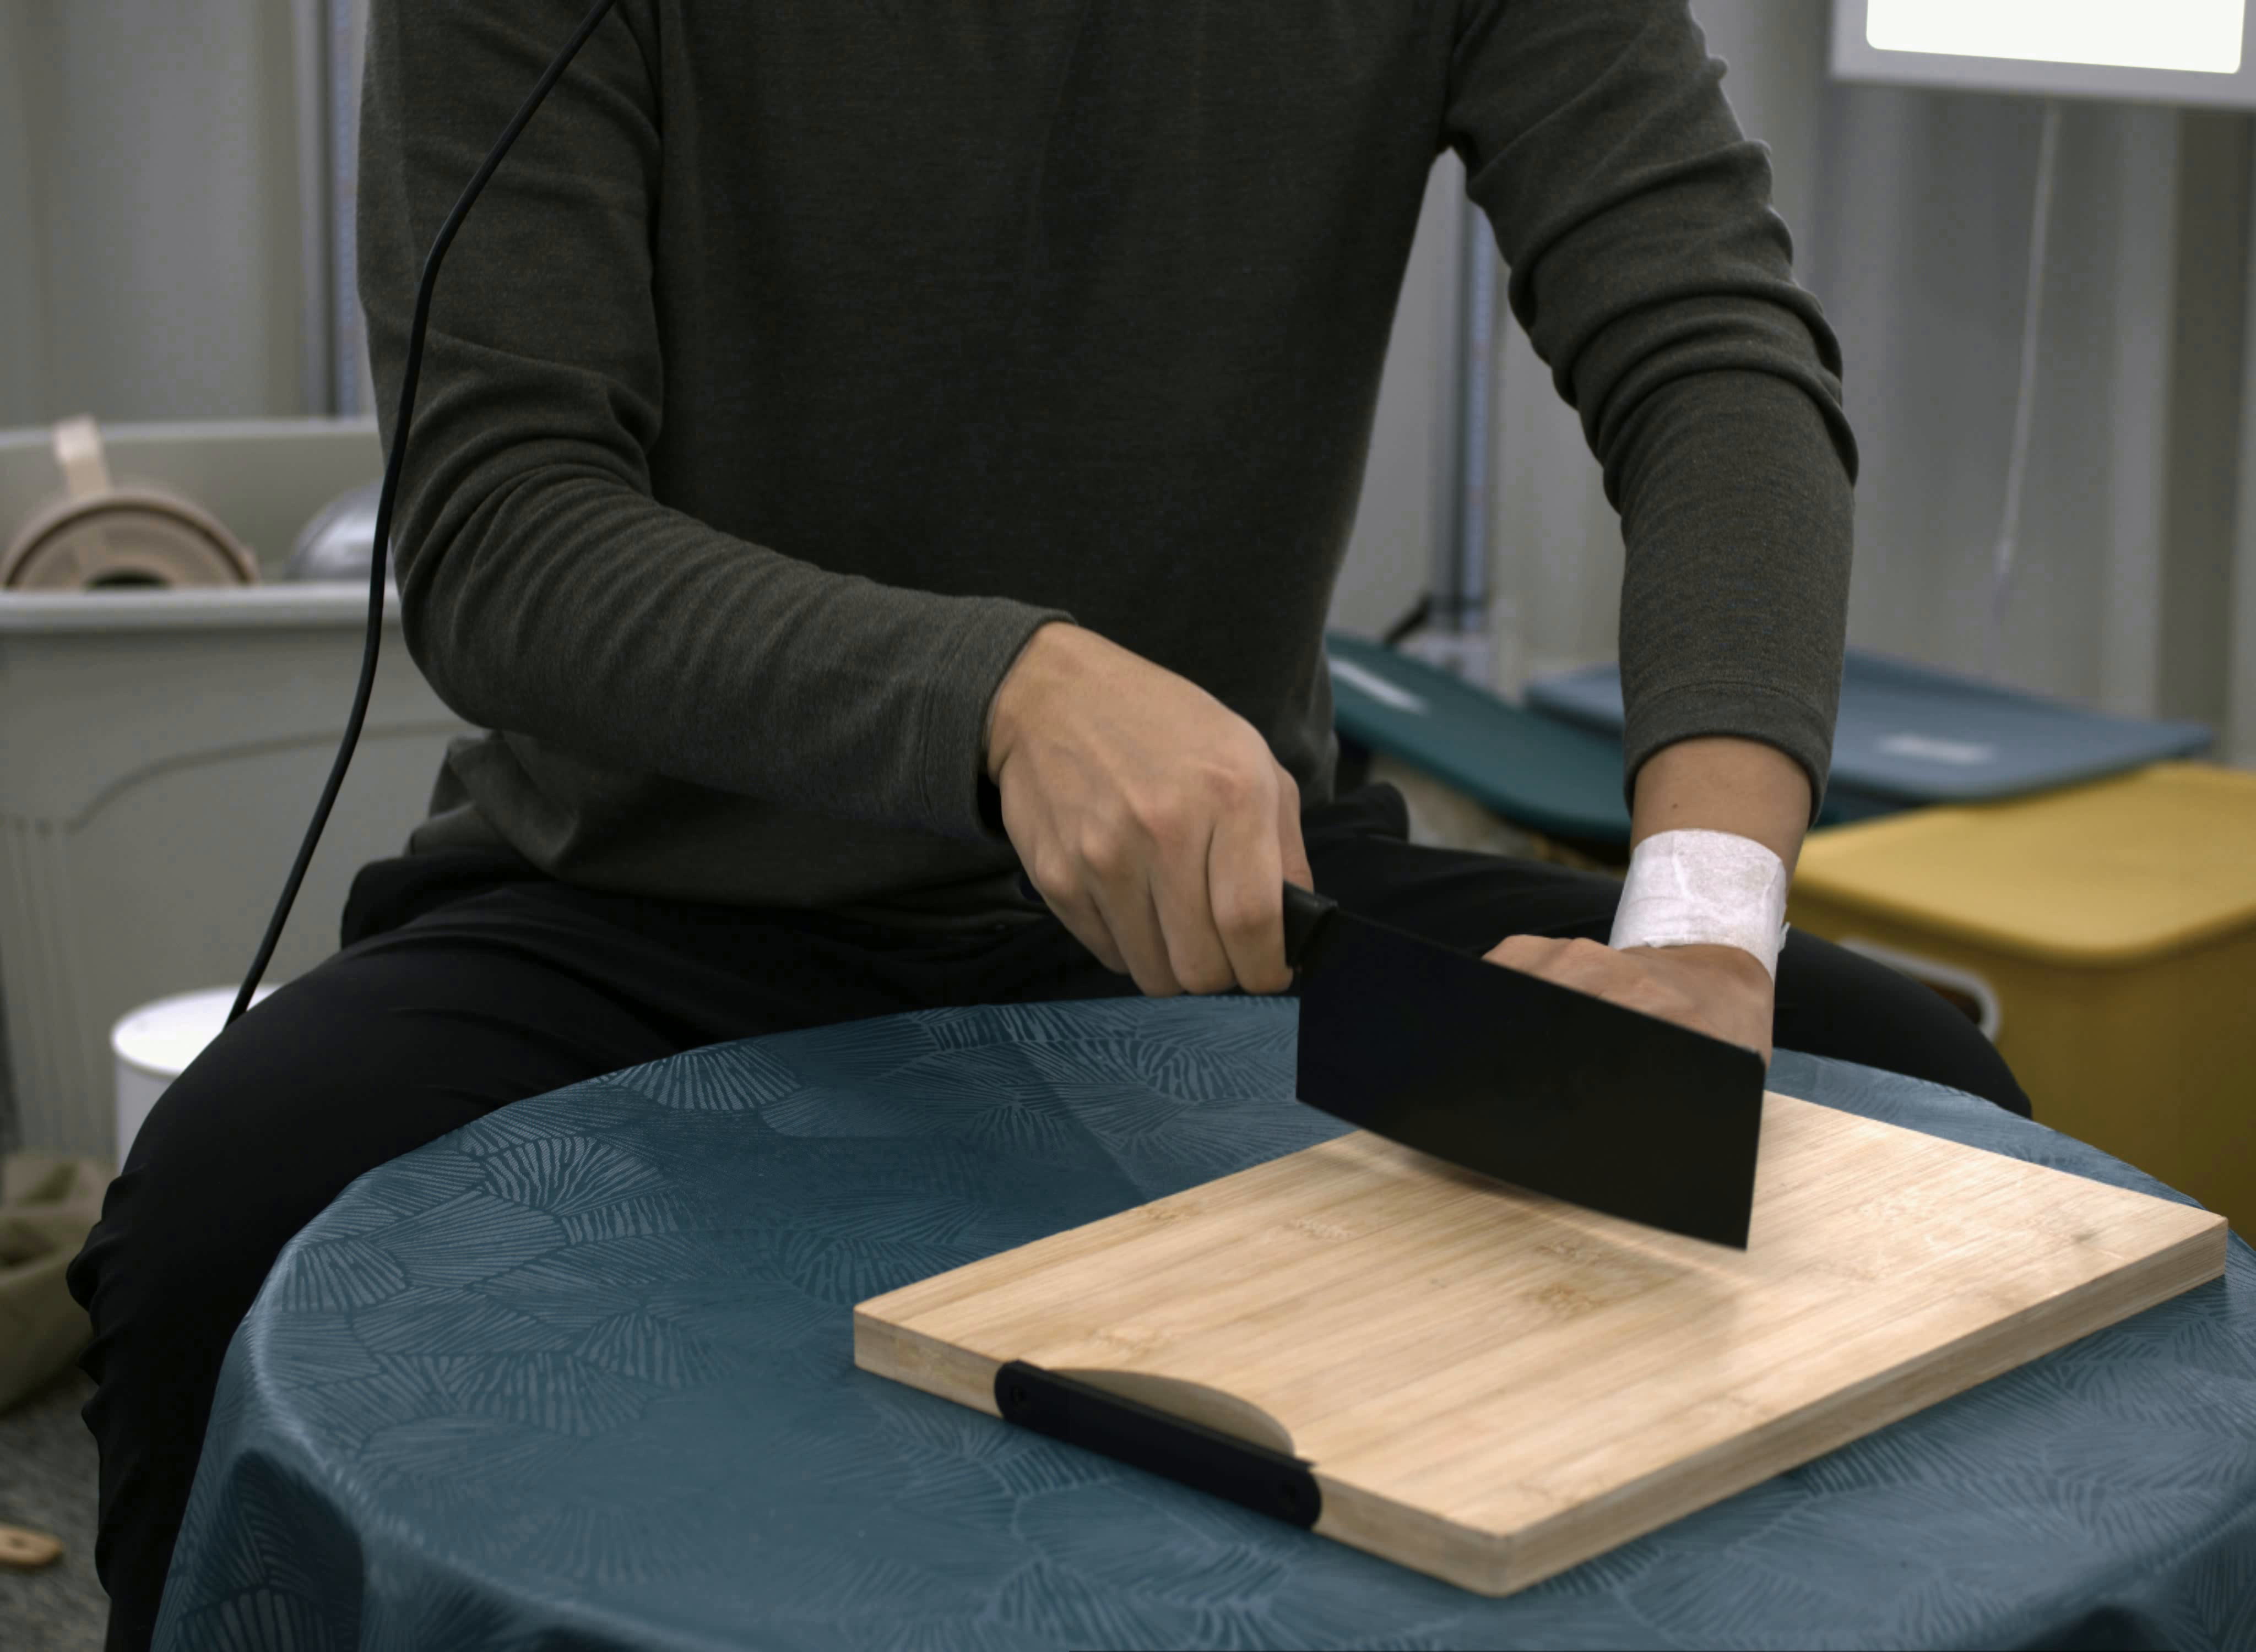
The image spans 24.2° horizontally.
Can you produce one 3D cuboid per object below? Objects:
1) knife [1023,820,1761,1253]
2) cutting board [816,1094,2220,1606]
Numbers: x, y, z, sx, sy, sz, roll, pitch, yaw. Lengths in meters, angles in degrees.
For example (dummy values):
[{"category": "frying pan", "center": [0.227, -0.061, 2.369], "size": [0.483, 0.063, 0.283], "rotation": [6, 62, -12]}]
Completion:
[{"category": "knife", "center": [0.074, 0.057, 1.590], "size": [0.021, 0.081, 0.298], "rotation": [-12, 26, -43]}, {"category": "cutting board", "center": [0.119, 0.135, 1.517], "size": [0.247, 0.024, 0.350], "rotation": [13, 20, 41]}]
